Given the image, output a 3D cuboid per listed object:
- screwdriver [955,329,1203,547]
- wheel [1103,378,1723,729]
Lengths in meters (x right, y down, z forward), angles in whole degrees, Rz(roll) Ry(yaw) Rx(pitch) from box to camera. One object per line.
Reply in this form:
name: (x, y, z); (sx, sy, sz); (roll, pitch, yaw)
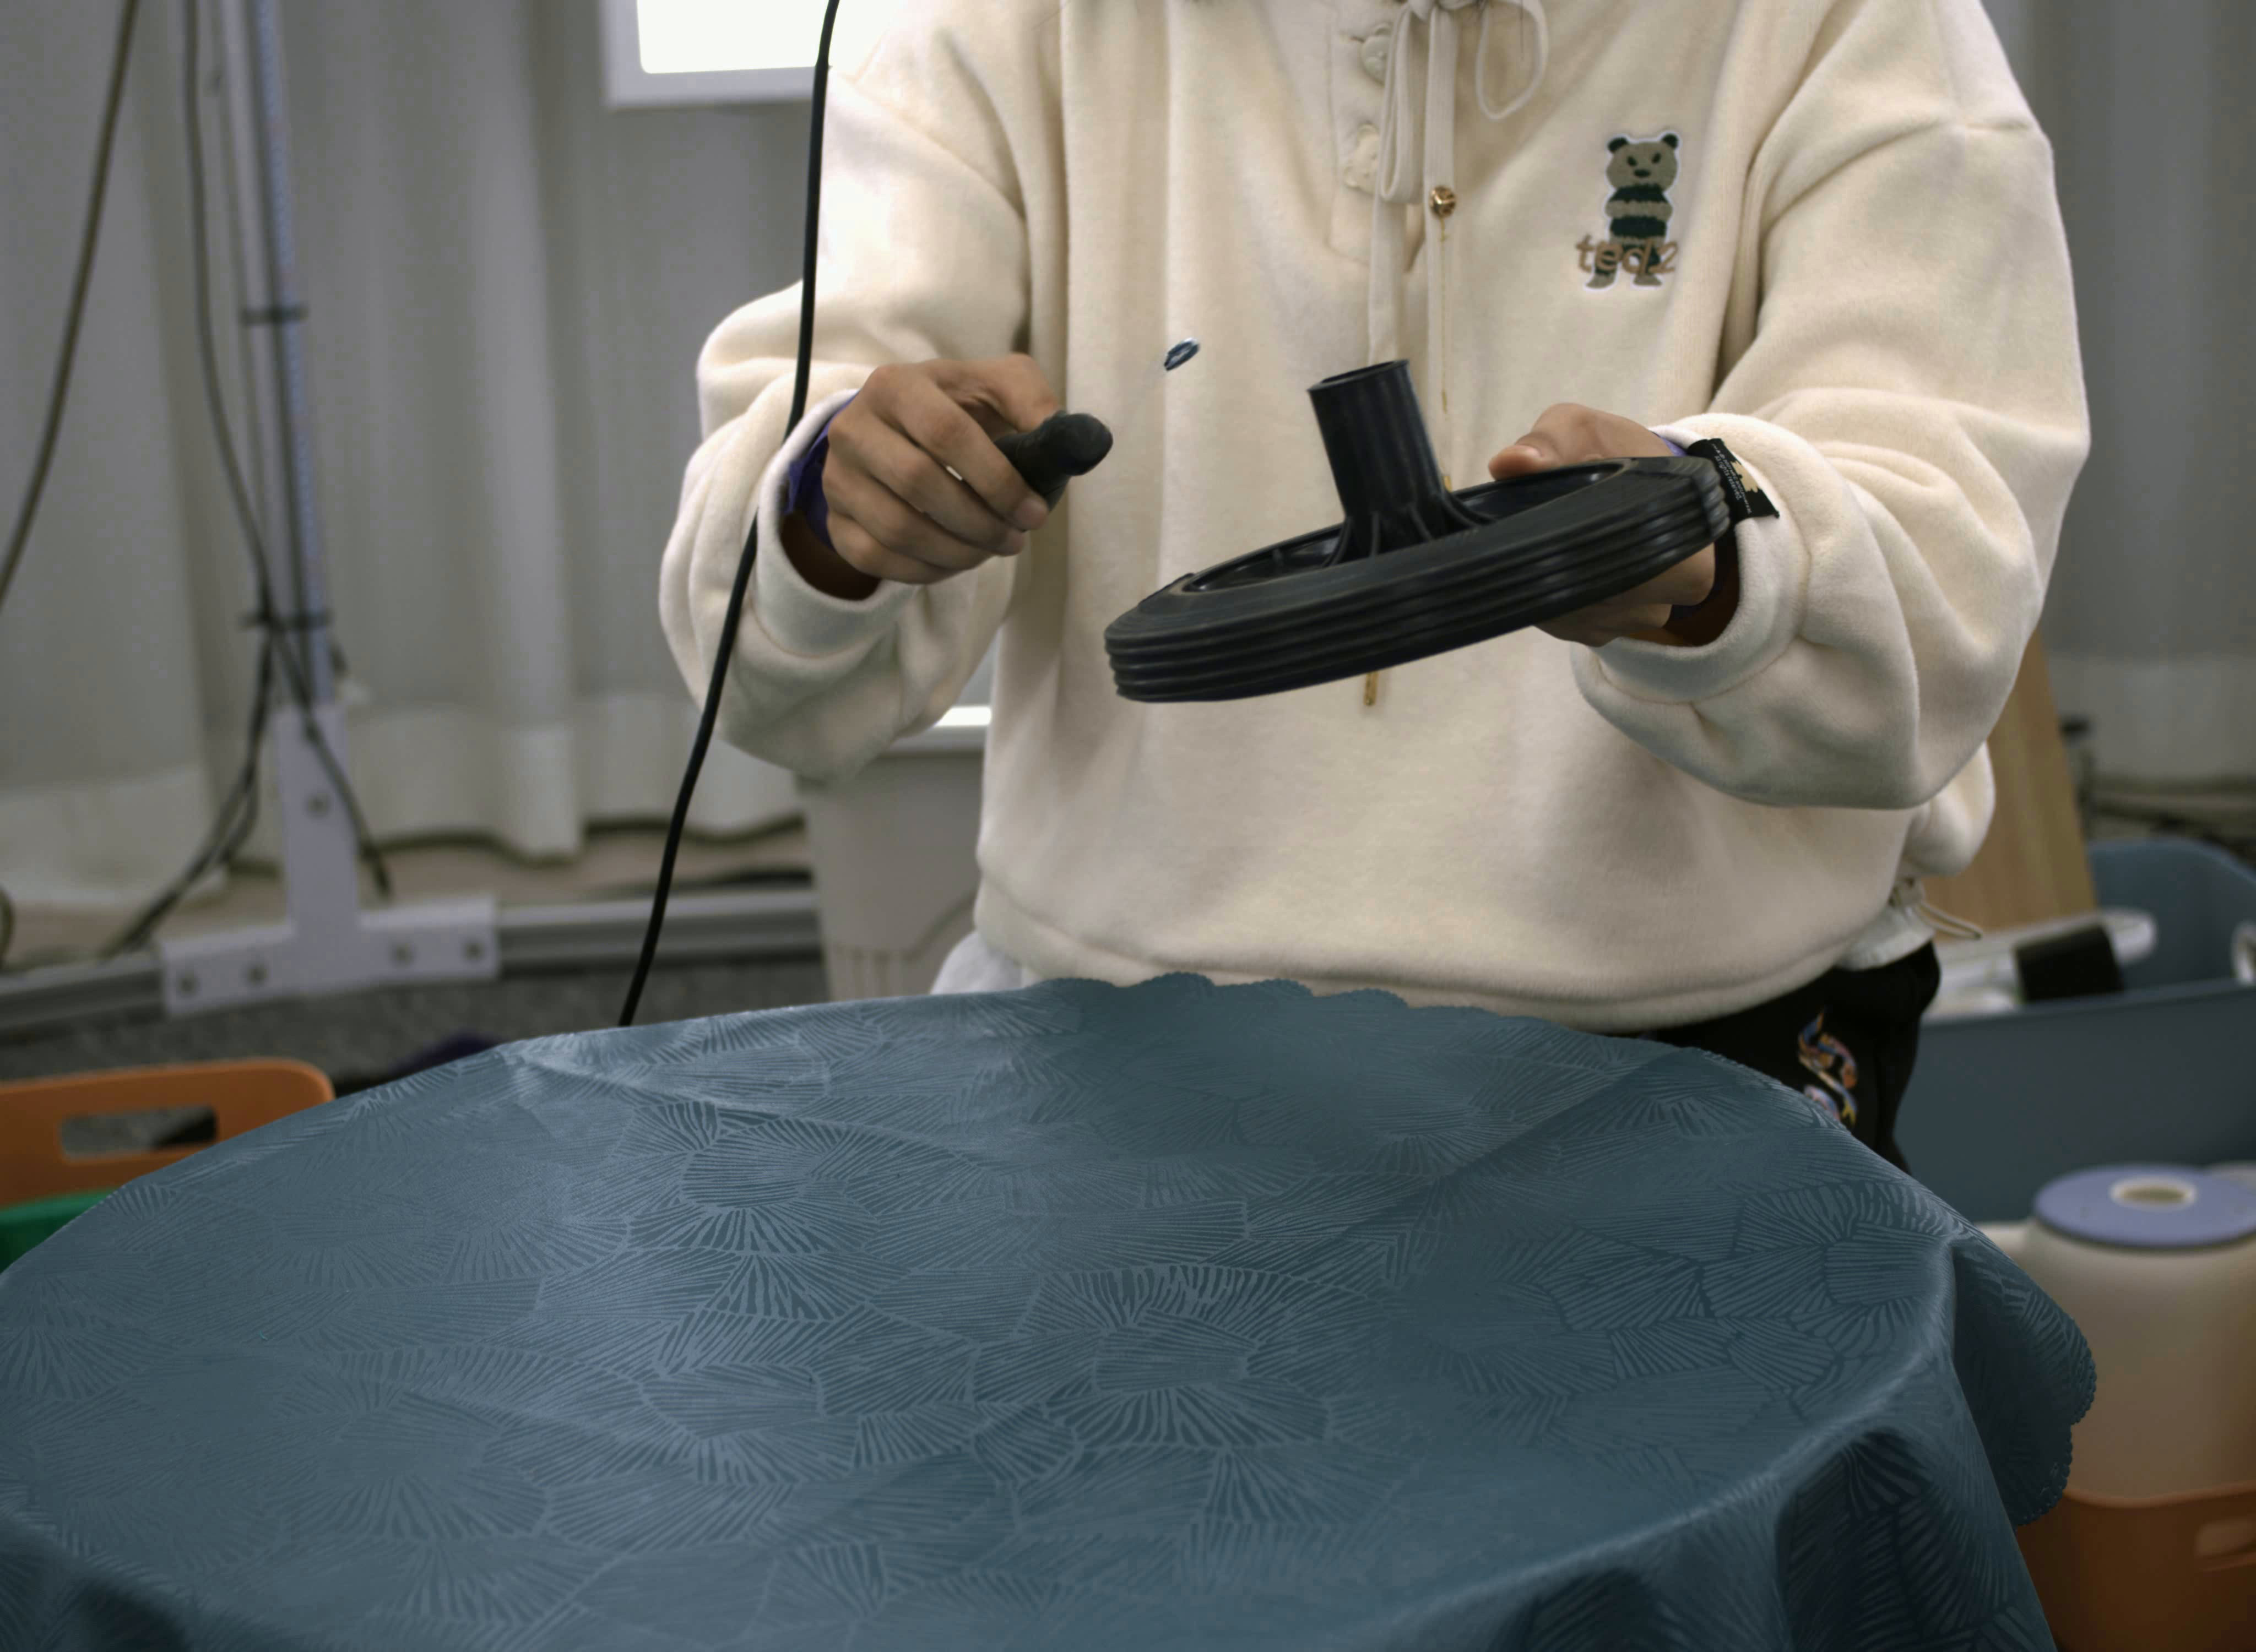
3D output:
screwdriver: (-0.013, -0.129, 1.756); (0.031, 0.032, 0.195); (-10, -12, -26)
wheel: (0.077, -0.089, 1.611); (0.189, 0.079, 0.188); (-23, 9, -25)
